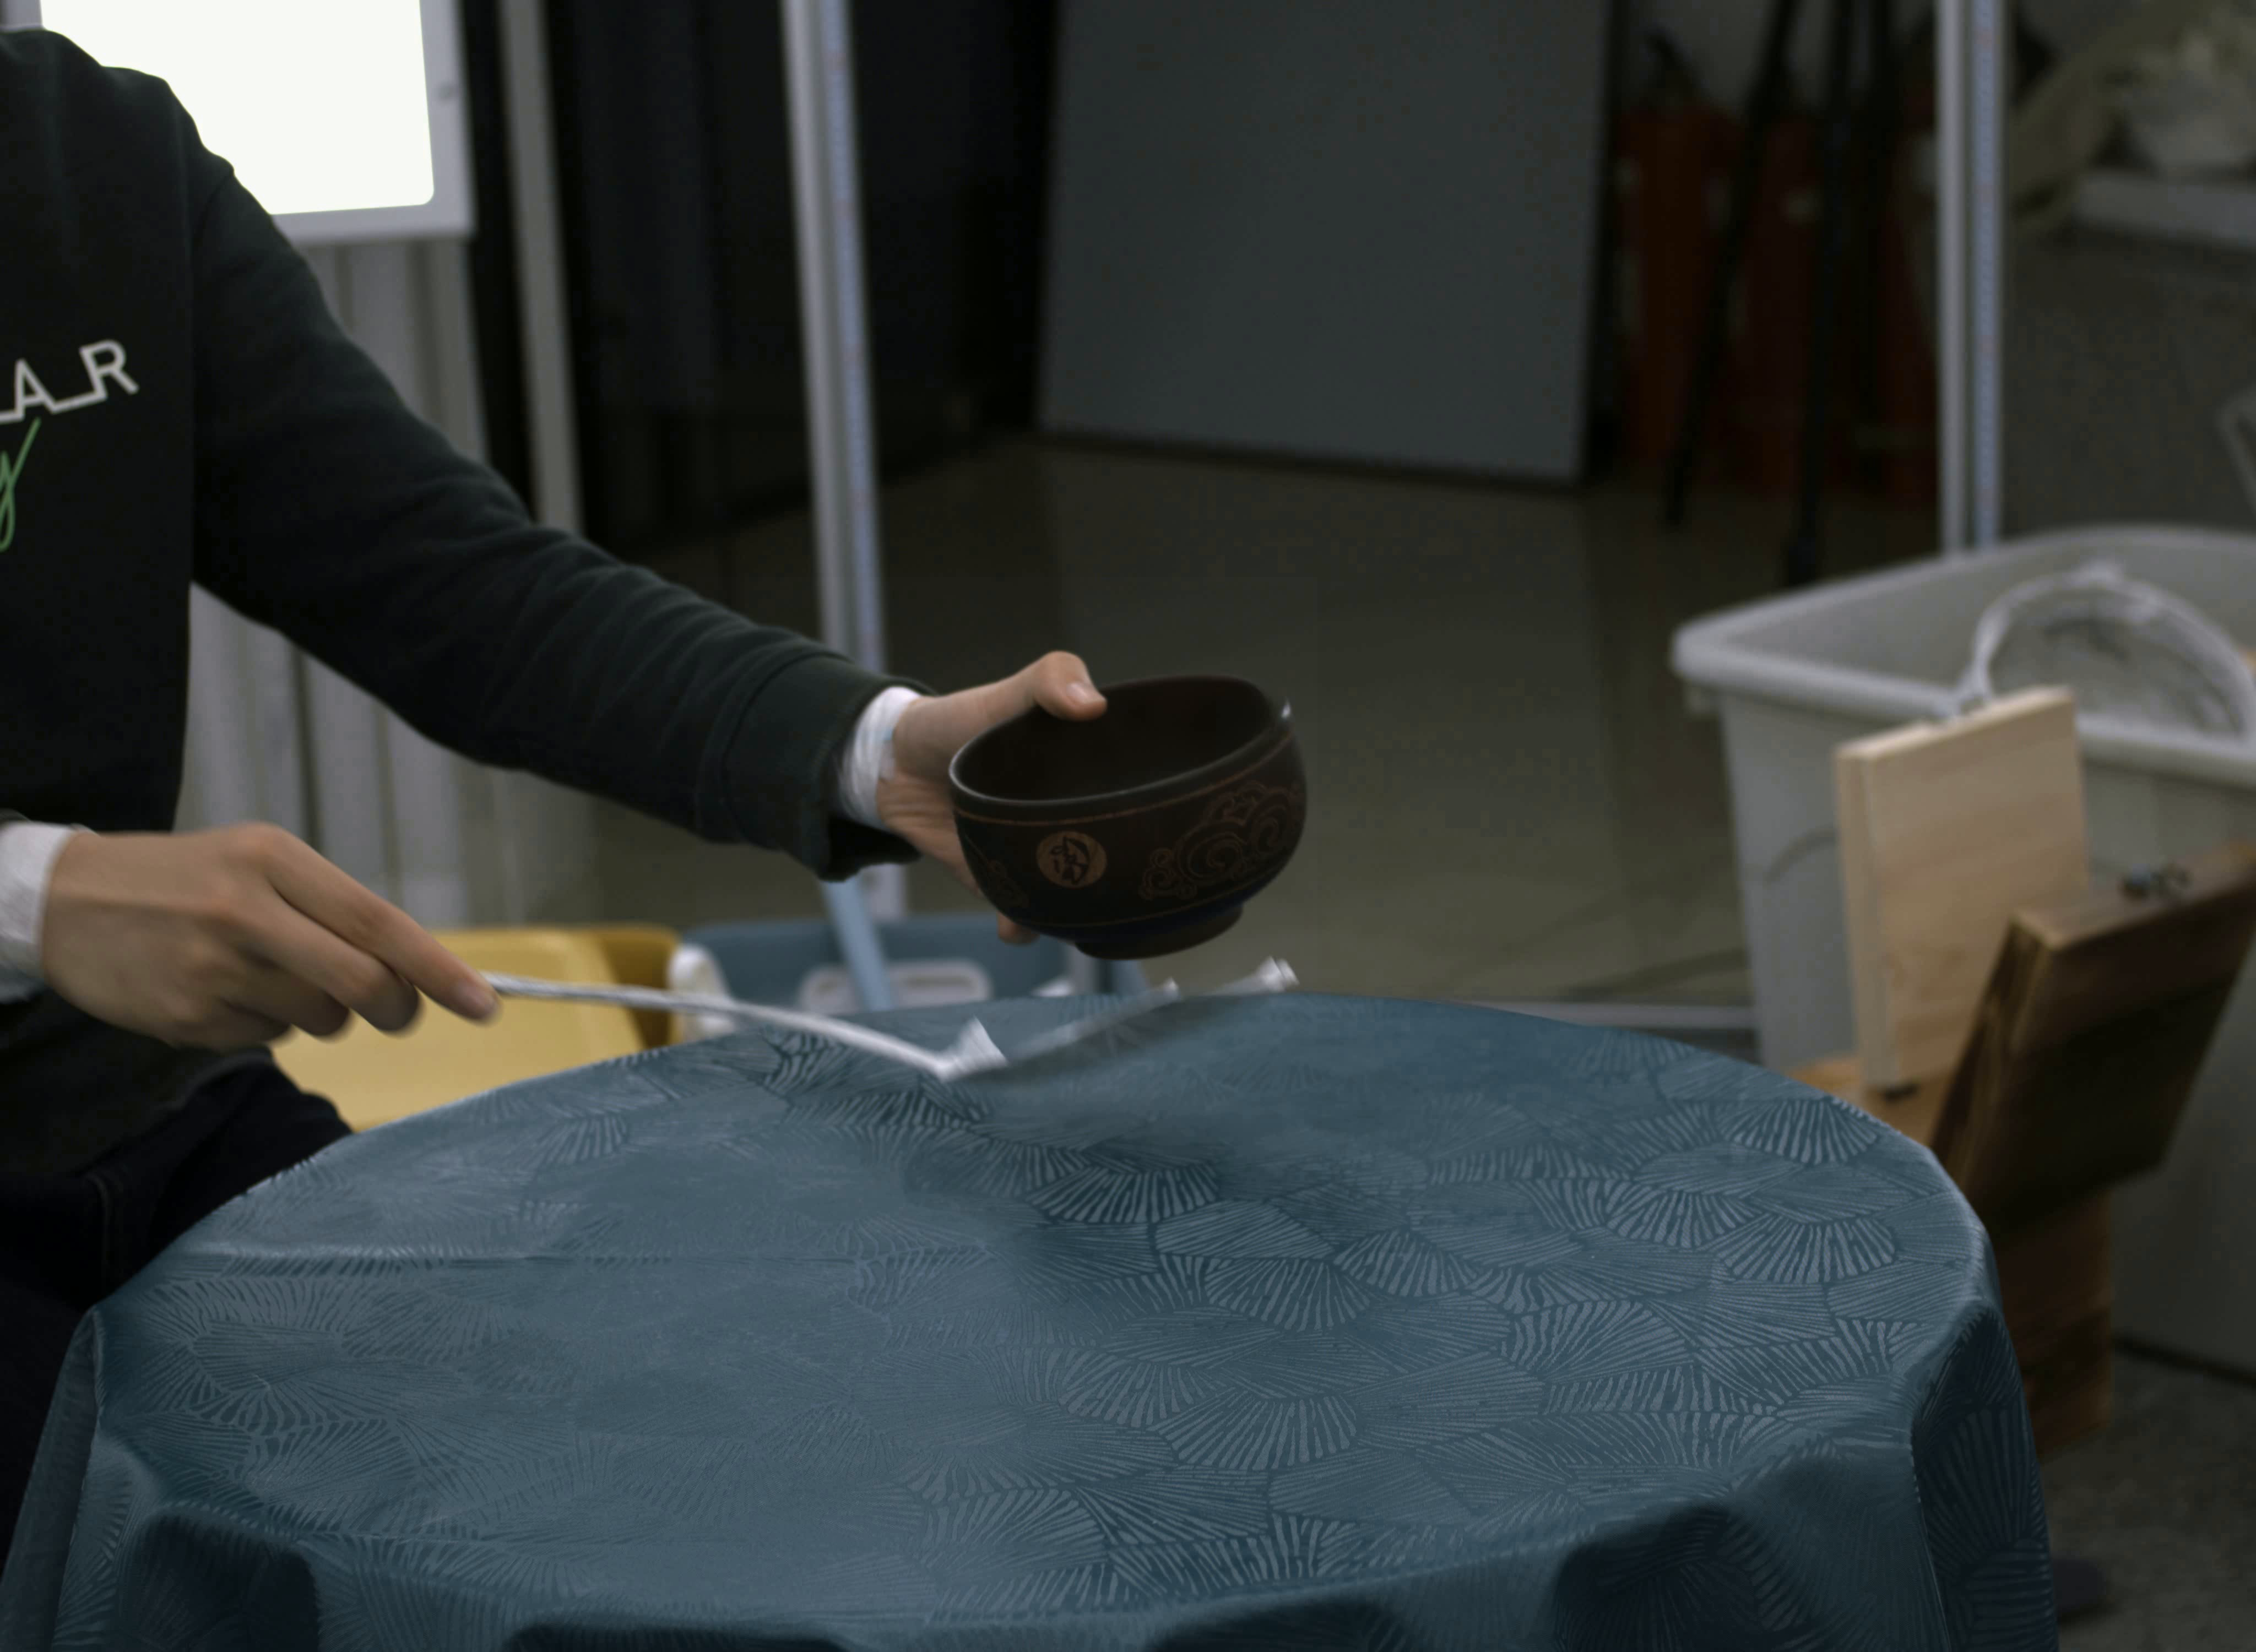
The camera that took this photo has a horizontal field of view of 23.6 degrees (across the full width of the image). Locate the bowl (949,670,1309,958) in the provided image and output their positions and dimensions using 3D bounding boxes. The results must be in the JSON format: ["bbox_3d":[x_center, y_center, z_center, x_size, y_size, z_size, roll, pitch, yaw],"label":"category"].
[{"bbox_3d":[0.004,0.001,1.769,0.117,0.070,0.118,-11,17,3],"label":"bowl"}]

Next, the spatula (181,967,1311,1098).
[{"bbox_3d":[-0.123,0.050,1.581,0.364,0.045,0.097,5,5,21],"label":"spatula"}]
